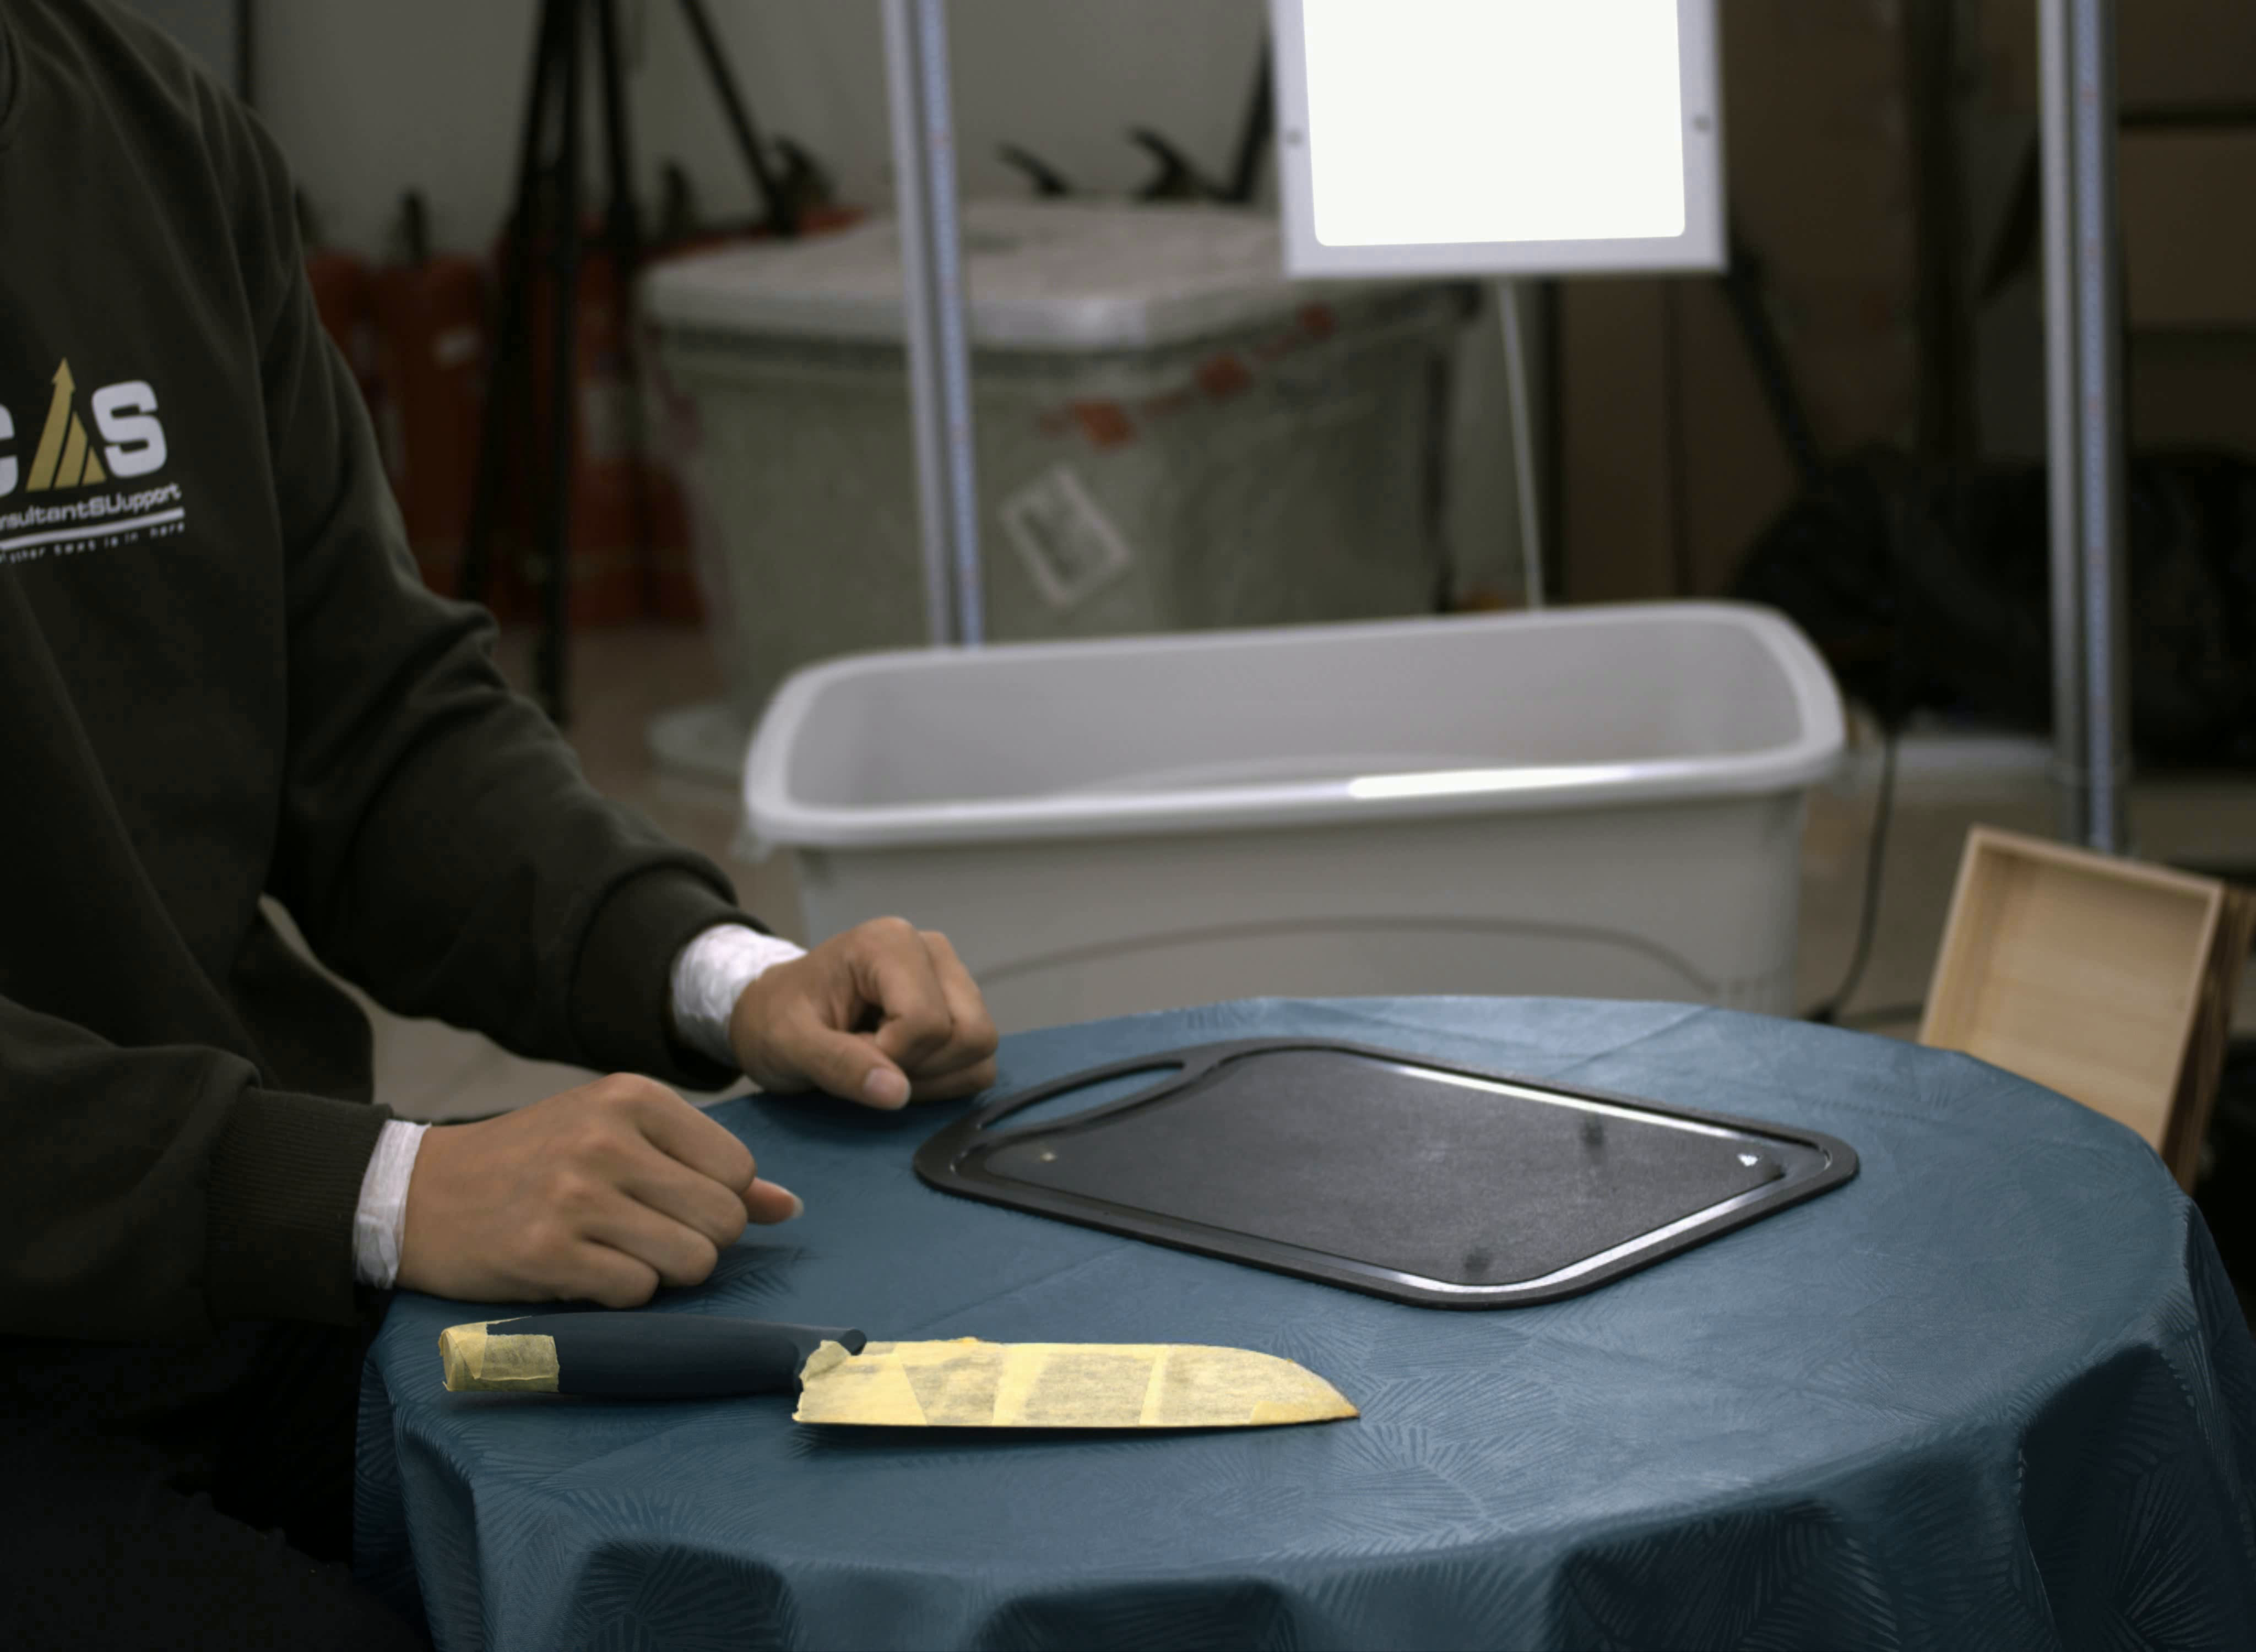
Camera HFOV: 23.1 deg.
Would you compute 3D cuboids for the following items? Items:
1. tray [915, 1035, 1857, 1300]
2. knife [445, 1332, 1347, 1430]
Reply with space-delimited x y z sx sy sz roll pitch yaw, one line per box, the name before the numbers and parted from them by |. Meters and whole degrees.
tray | 0.080 0.113 1.913 0.206 0.010 0.332 -17 18 -40
knife | -0.074 0.174 1.707 0.291 0.027 0.080 -2 12 11
